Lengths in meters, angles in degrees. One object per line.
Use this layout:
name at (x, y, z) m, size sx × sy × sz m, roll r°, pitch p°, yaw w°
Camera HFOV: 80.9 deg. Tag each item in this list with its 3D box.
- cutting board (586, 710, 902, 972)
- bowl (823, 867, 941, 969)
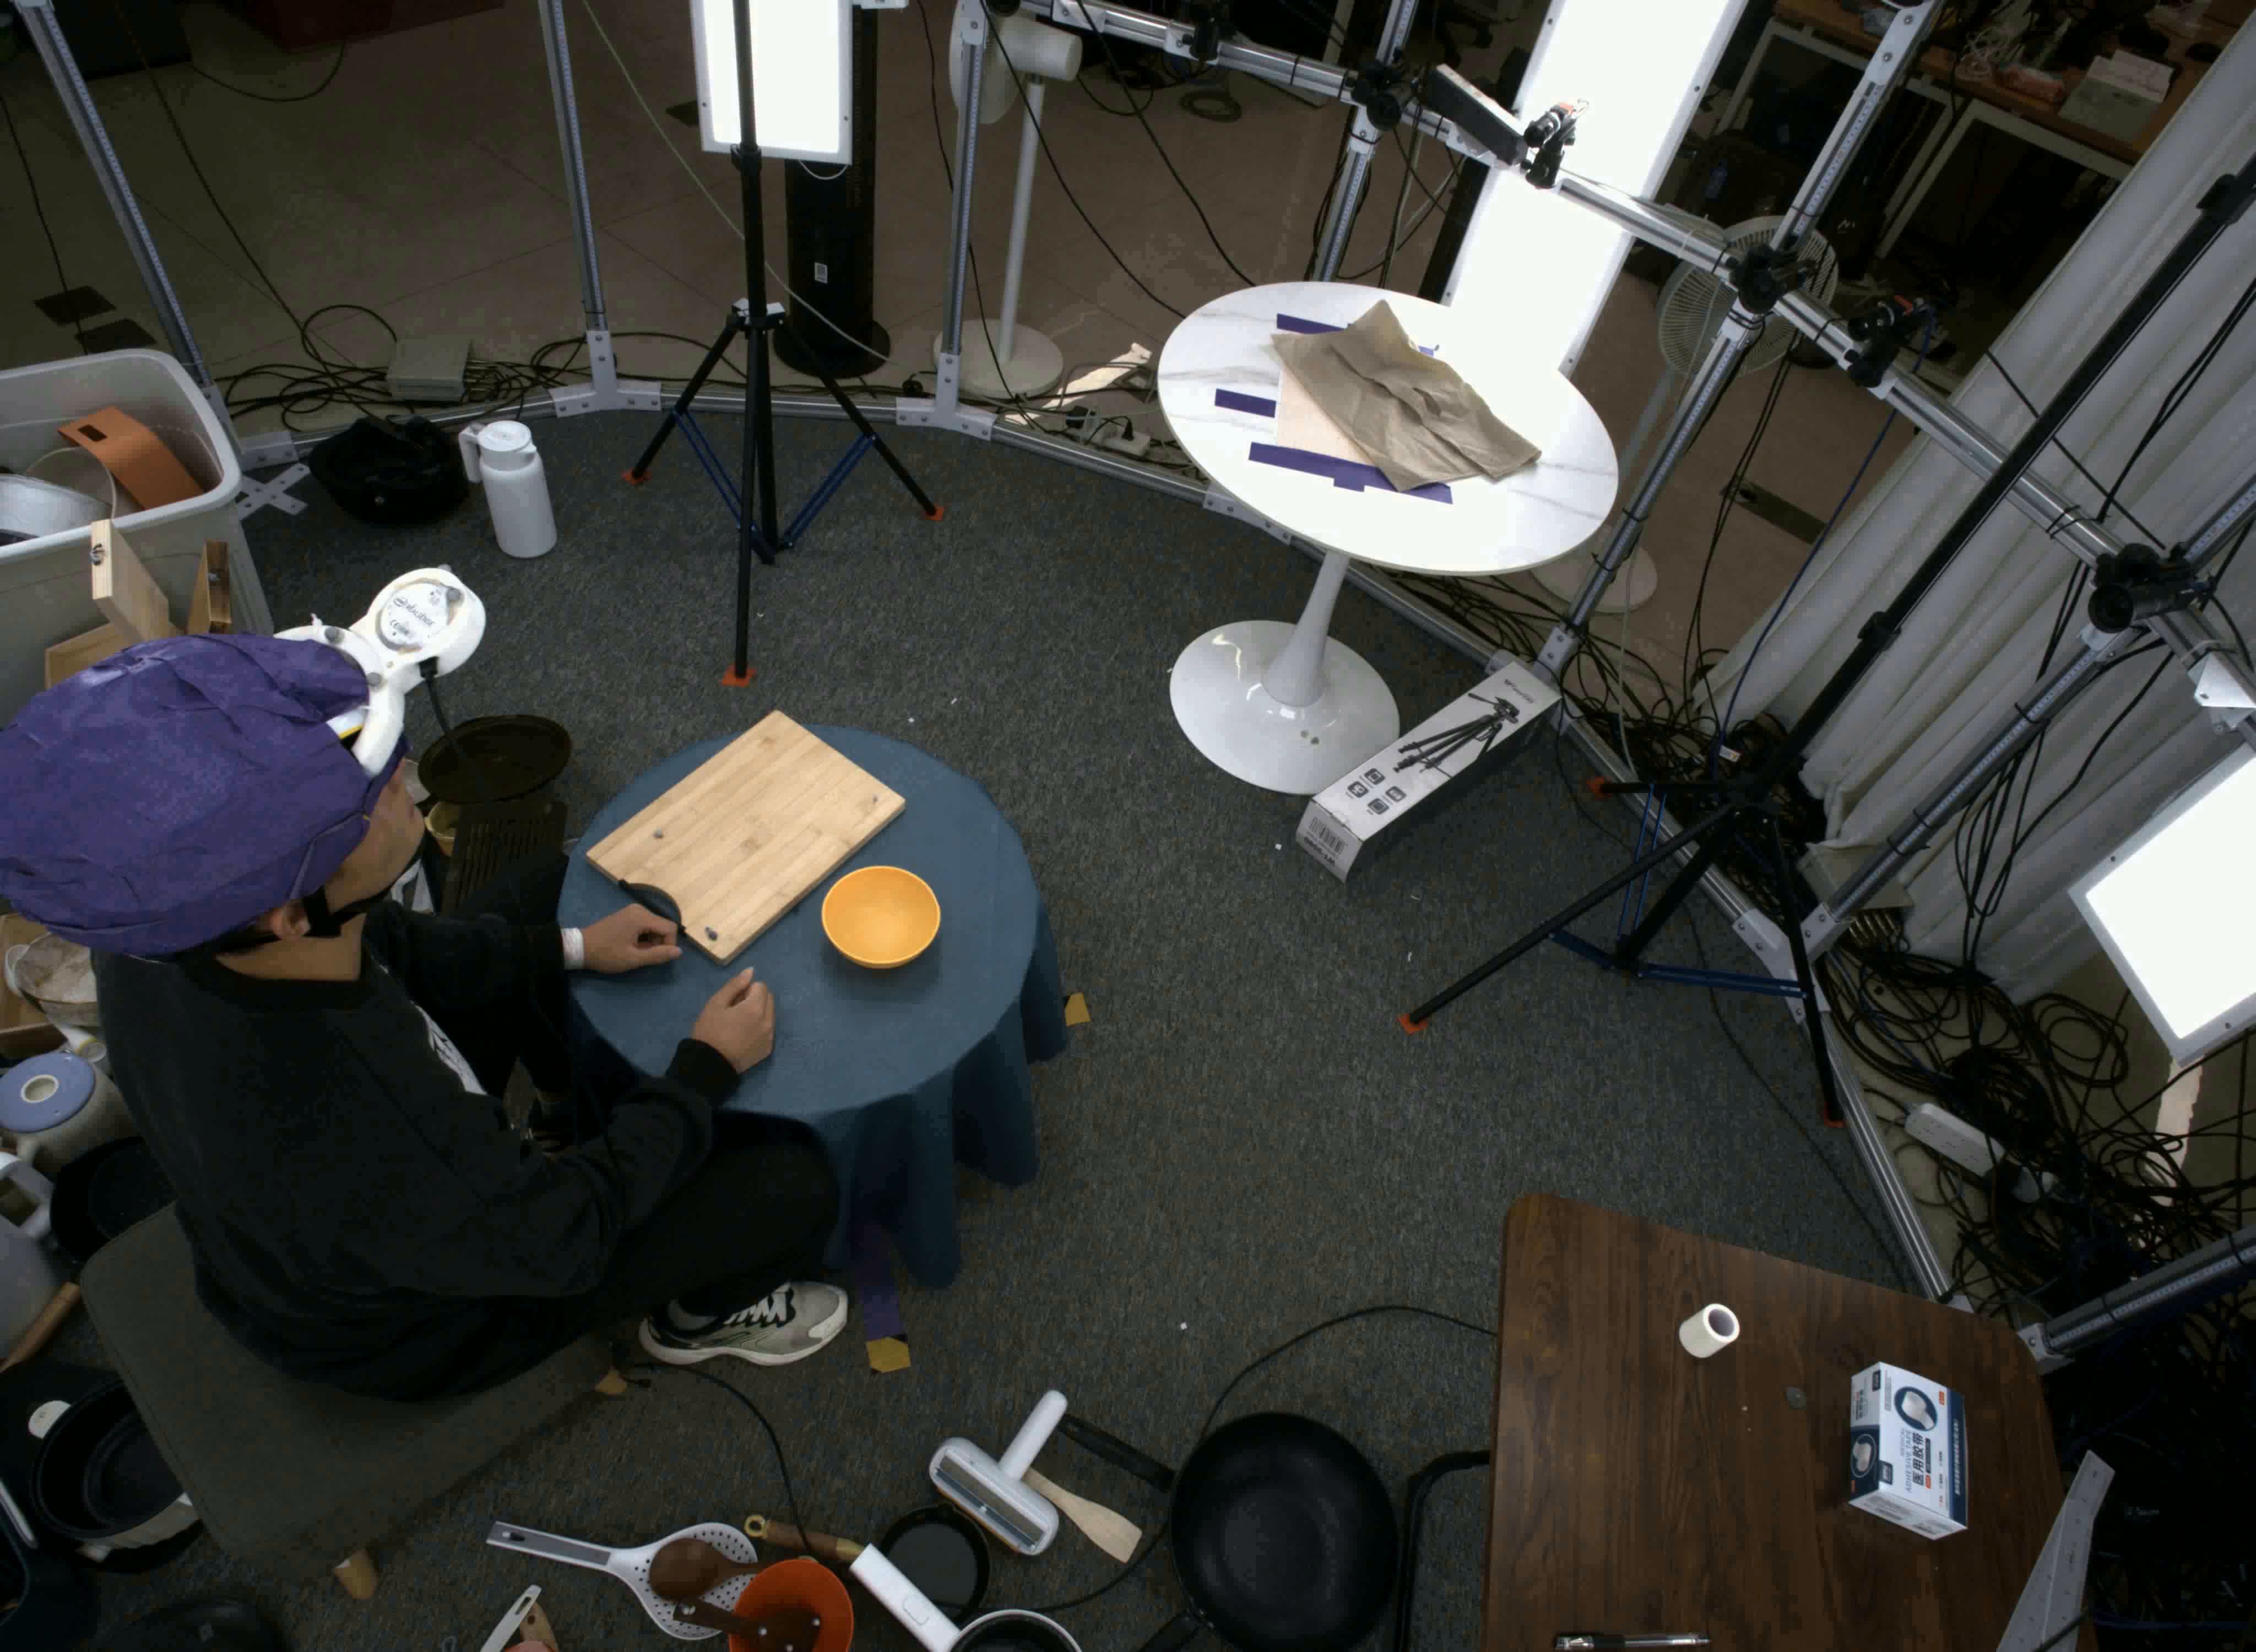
cutting board at (-0.498, 0.008, 1.694) m, size 0.246 × 0.024 × 0.348 m, roll 34°, pitch 53°, yaw 11°
bowl at (-0.307, 0.125, 1.631) m, size 0.144 × 0.061 × 0.143 m, roll 6°, pitch 52°, yaw -6°
